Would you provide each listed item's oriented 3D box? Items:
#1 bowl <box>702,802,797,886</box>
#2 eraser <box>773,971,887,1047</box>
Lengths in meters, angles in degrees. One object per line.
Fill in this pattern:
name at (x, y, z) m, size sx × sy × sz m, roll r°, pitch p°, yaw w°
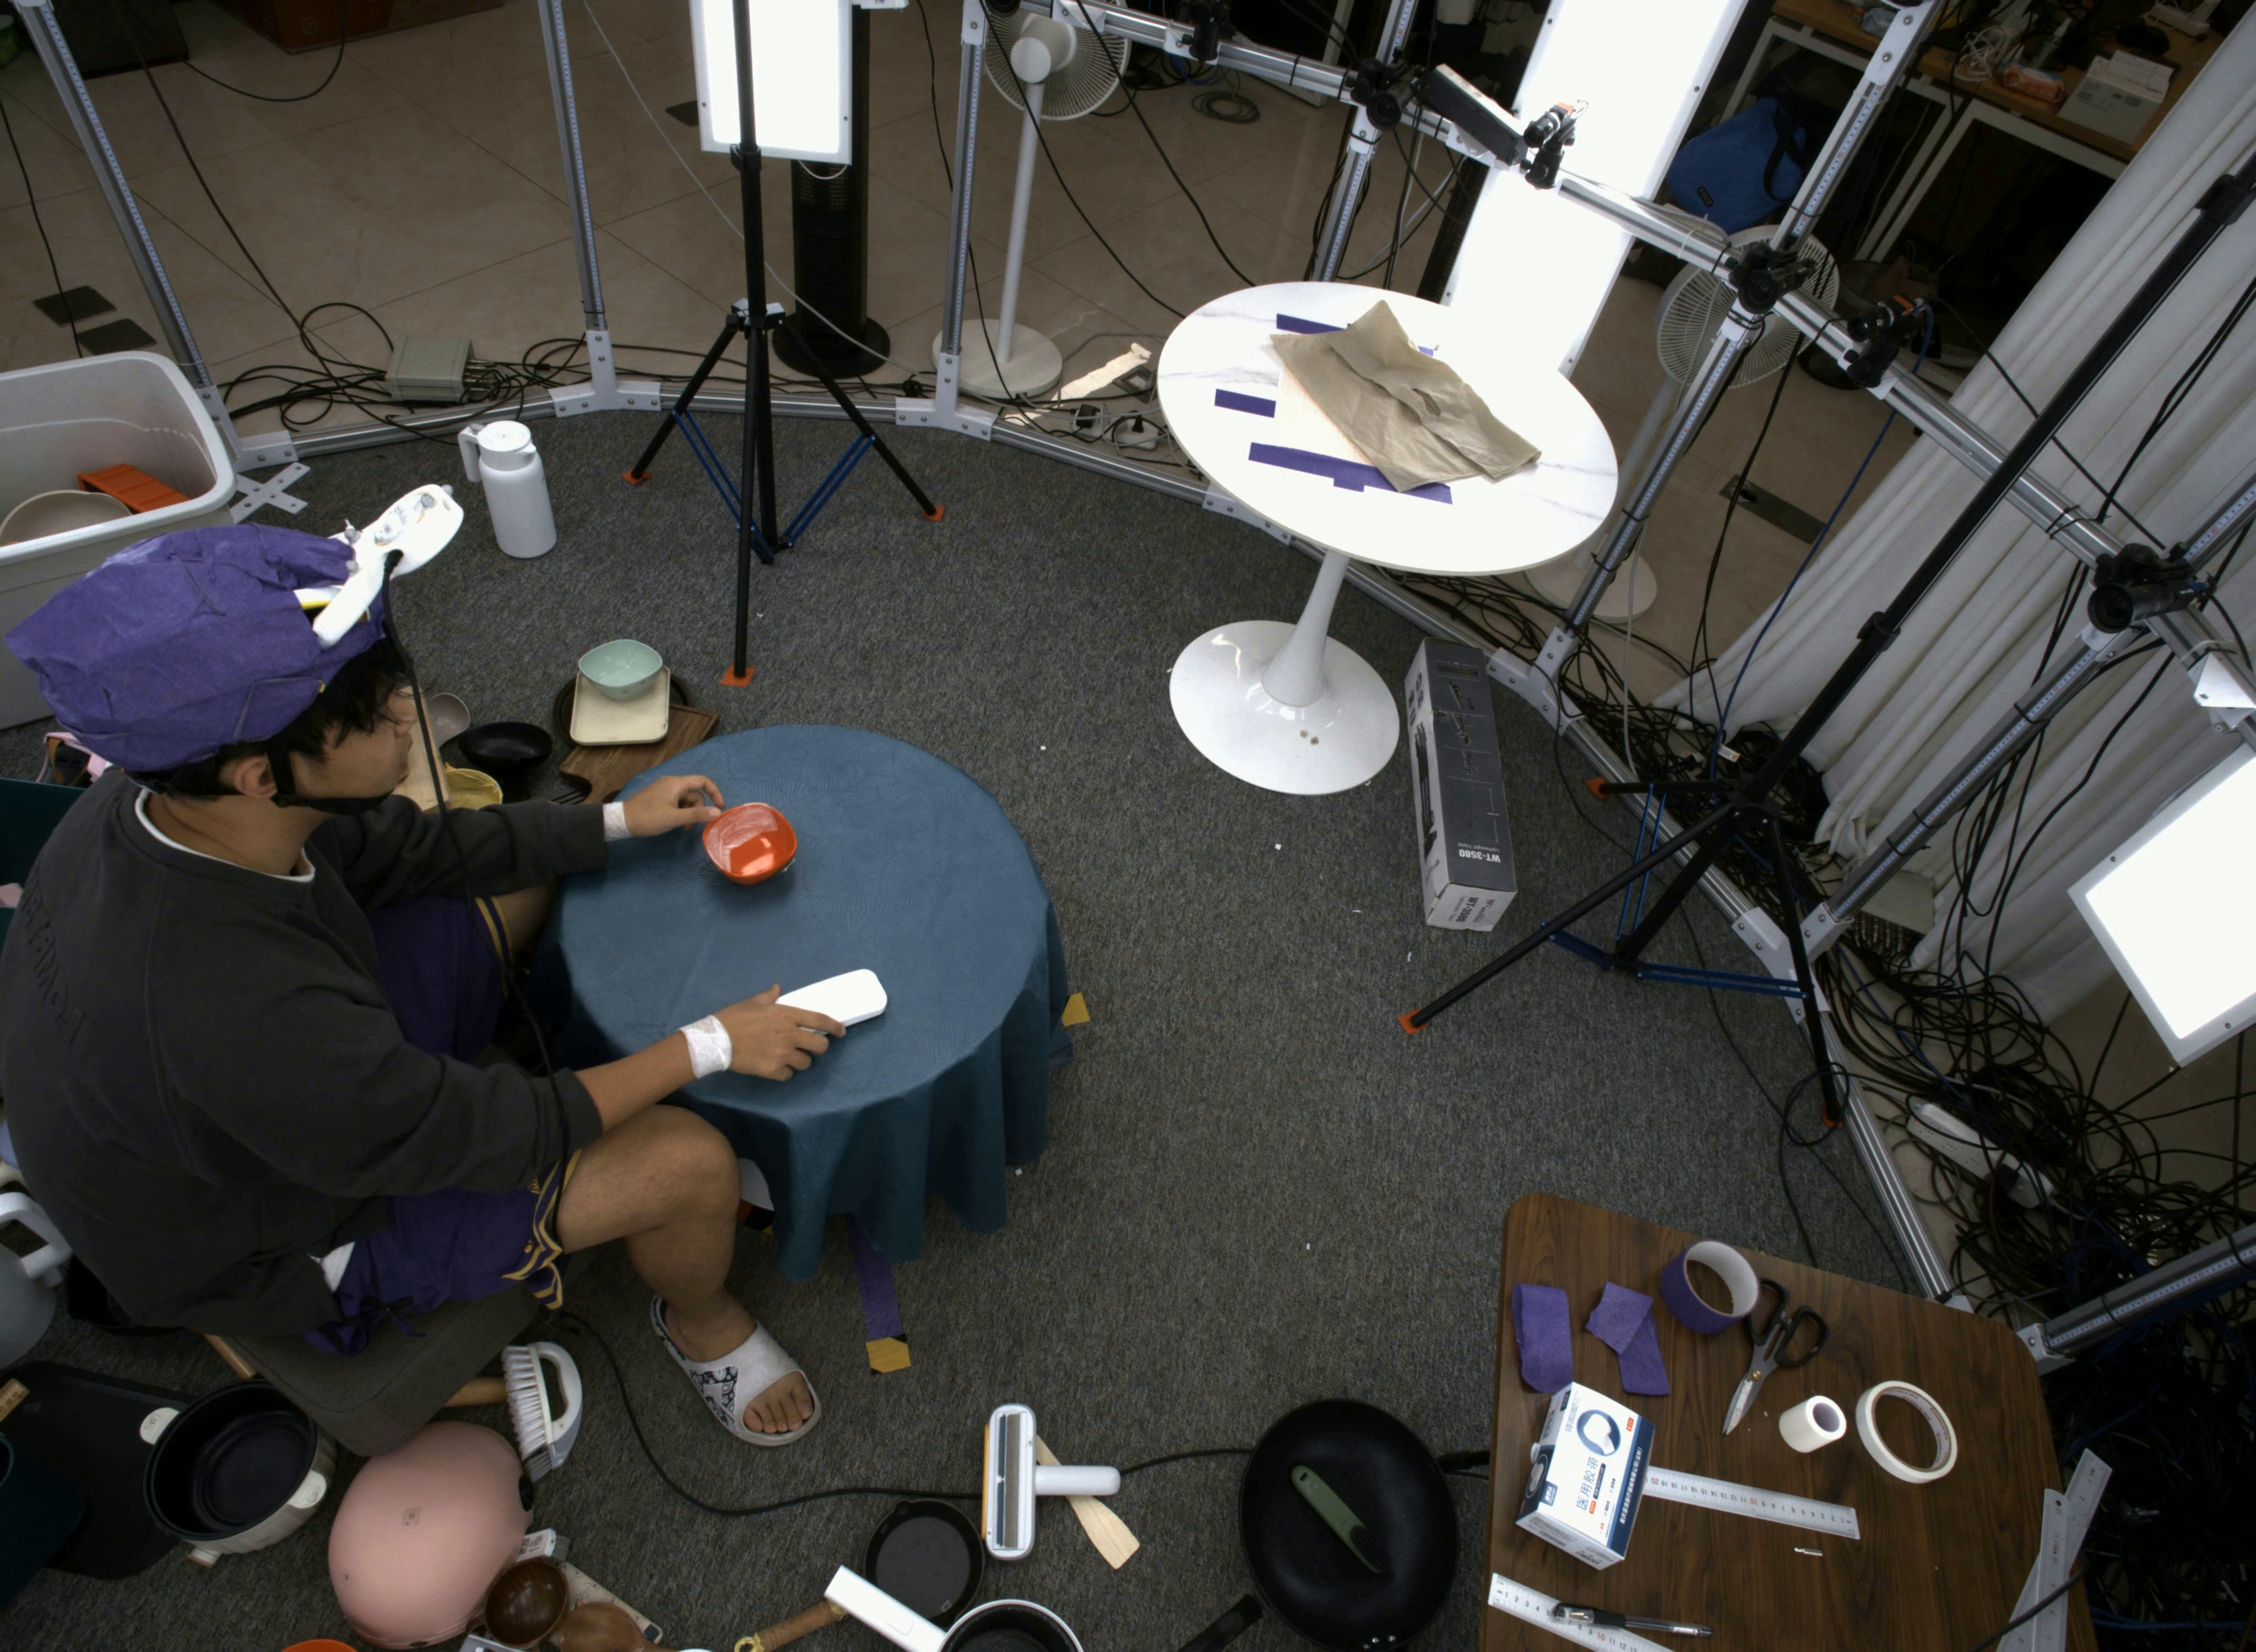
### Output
bowl at (-0.483, 0.030, 1.658) m, size 0.119 × 0.052 × 0.117 m, roll 8°, pitch 53°, yaw -9°
eraser at (-0.359, 0.216, 1.564) m, size 0.132 × 0.035 × 0.062 m, roll -16°, pitch 58°, yaw -27°
